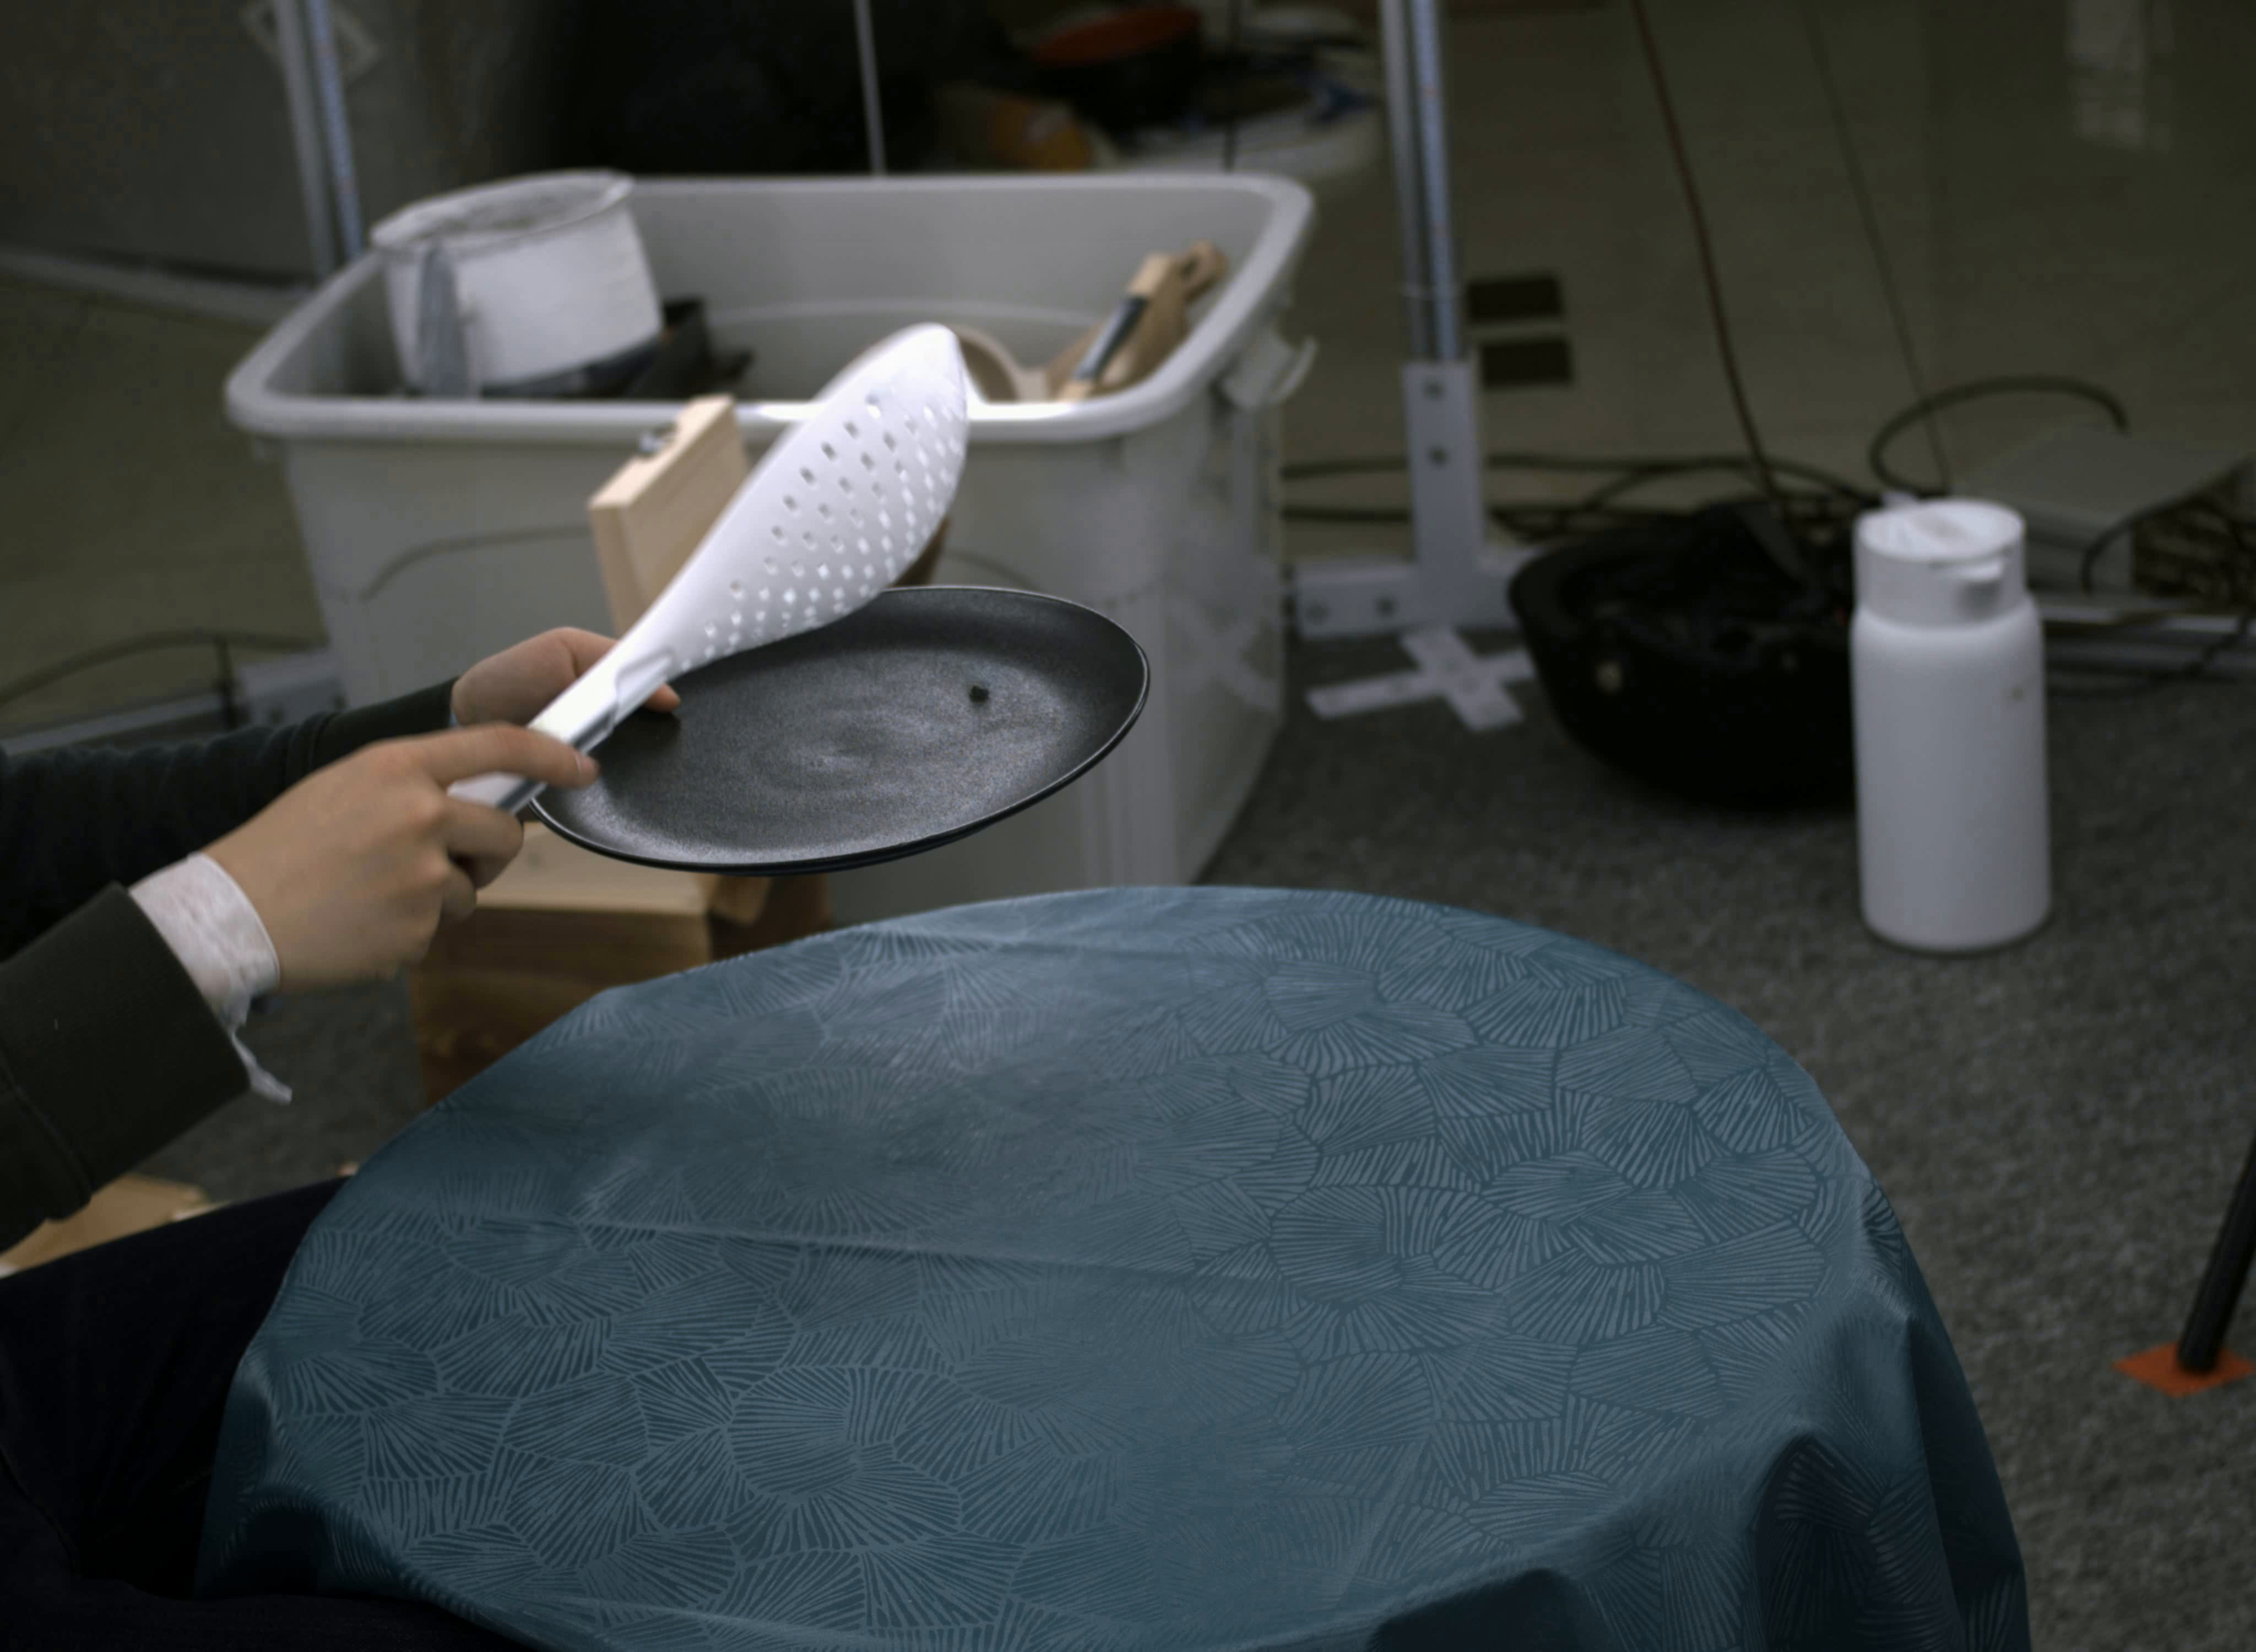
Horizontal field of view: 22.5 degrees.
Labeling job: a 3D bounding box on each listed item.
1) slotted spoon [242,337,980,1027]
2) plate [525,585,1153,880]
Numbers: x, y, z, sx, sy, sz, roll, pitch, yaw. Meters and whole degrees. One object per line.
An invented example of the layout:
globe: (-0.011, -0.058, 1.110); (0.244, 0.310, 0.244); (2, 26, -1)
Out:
slotted spoon: (-0.167, -0.047, 1.908); (0.346, 0.138, 0.045); (-37, 77, -25)
plate: (-0.109, -0.031, 2.150); (0.244, 0.024, 0.240); (-8, 26, 4)
